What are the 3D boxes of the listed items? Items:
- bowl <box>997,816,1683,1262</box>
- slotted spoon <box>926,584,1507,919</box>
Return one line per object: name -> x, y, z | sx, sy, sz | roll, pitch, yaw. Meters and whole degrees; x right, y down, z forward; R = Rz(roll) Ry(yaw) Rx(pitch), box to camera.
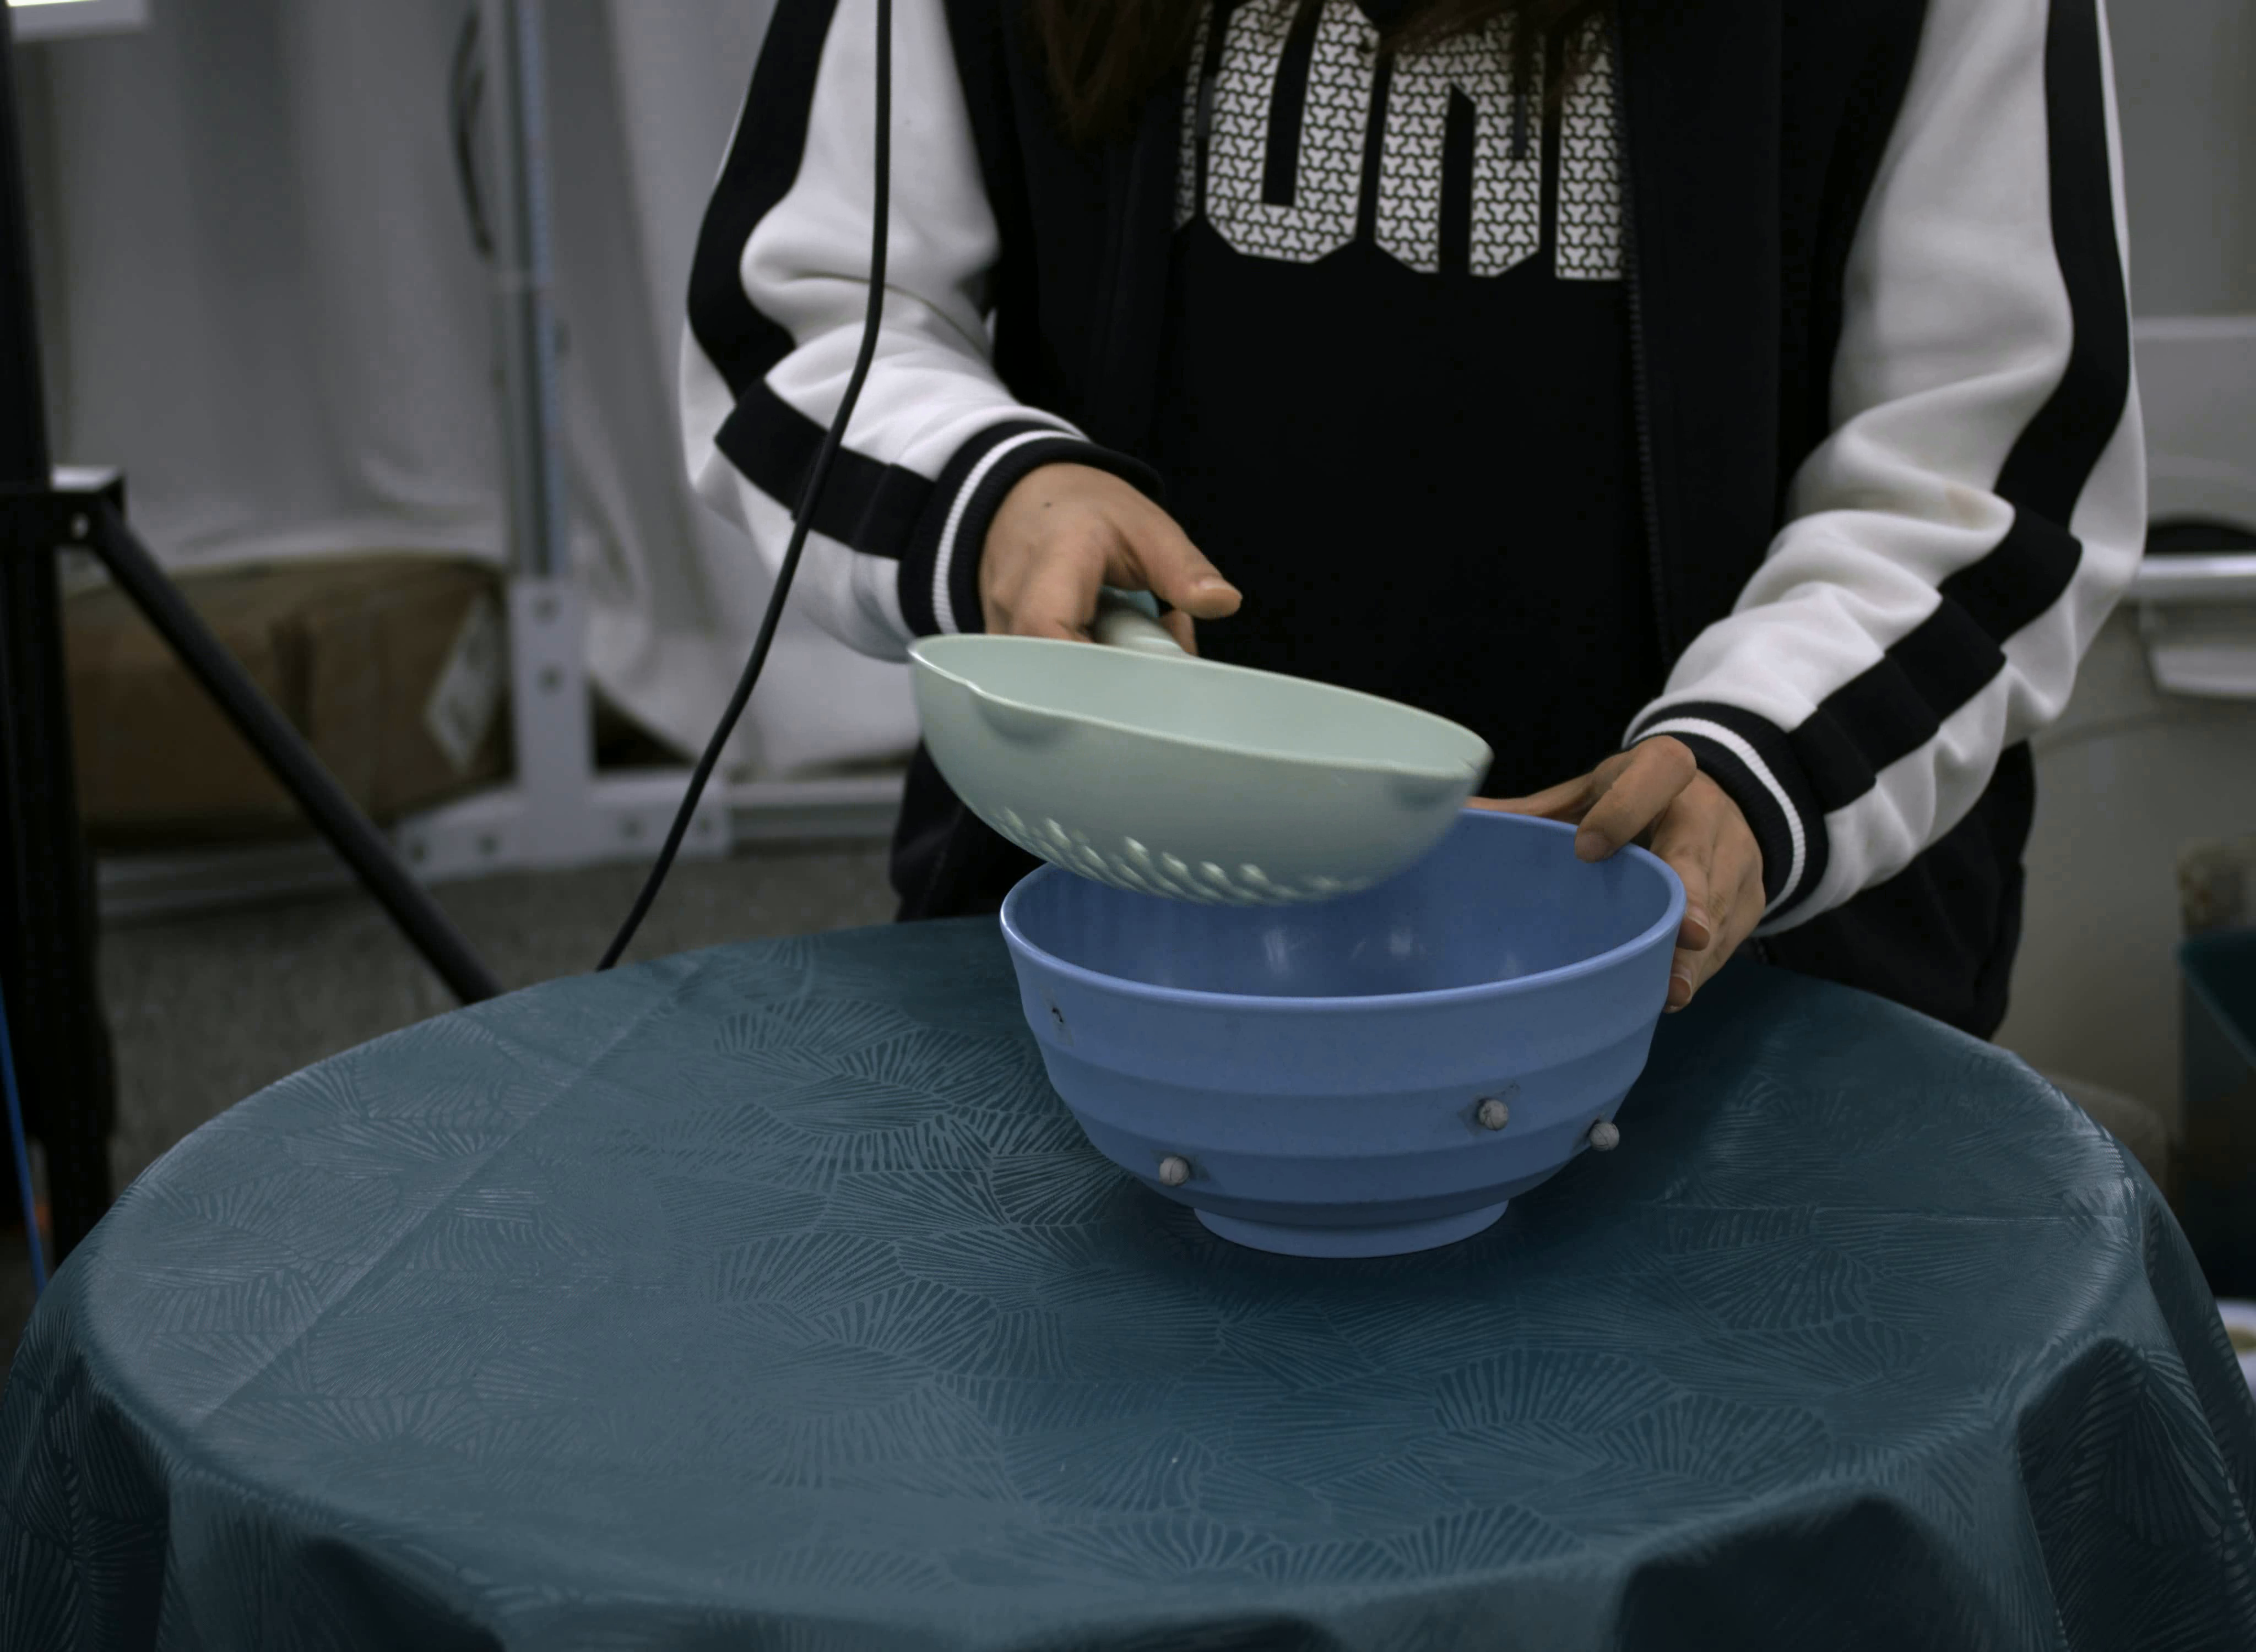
bowl -> 0.062, 0.066, 1.525 | 0.195, 0.095, 0.197 | -3, 15, -1
slotted spoon -> 0.011, -0.039, 1.617 | 0.167, 0.075, 0.362 | 10, 17, -8
